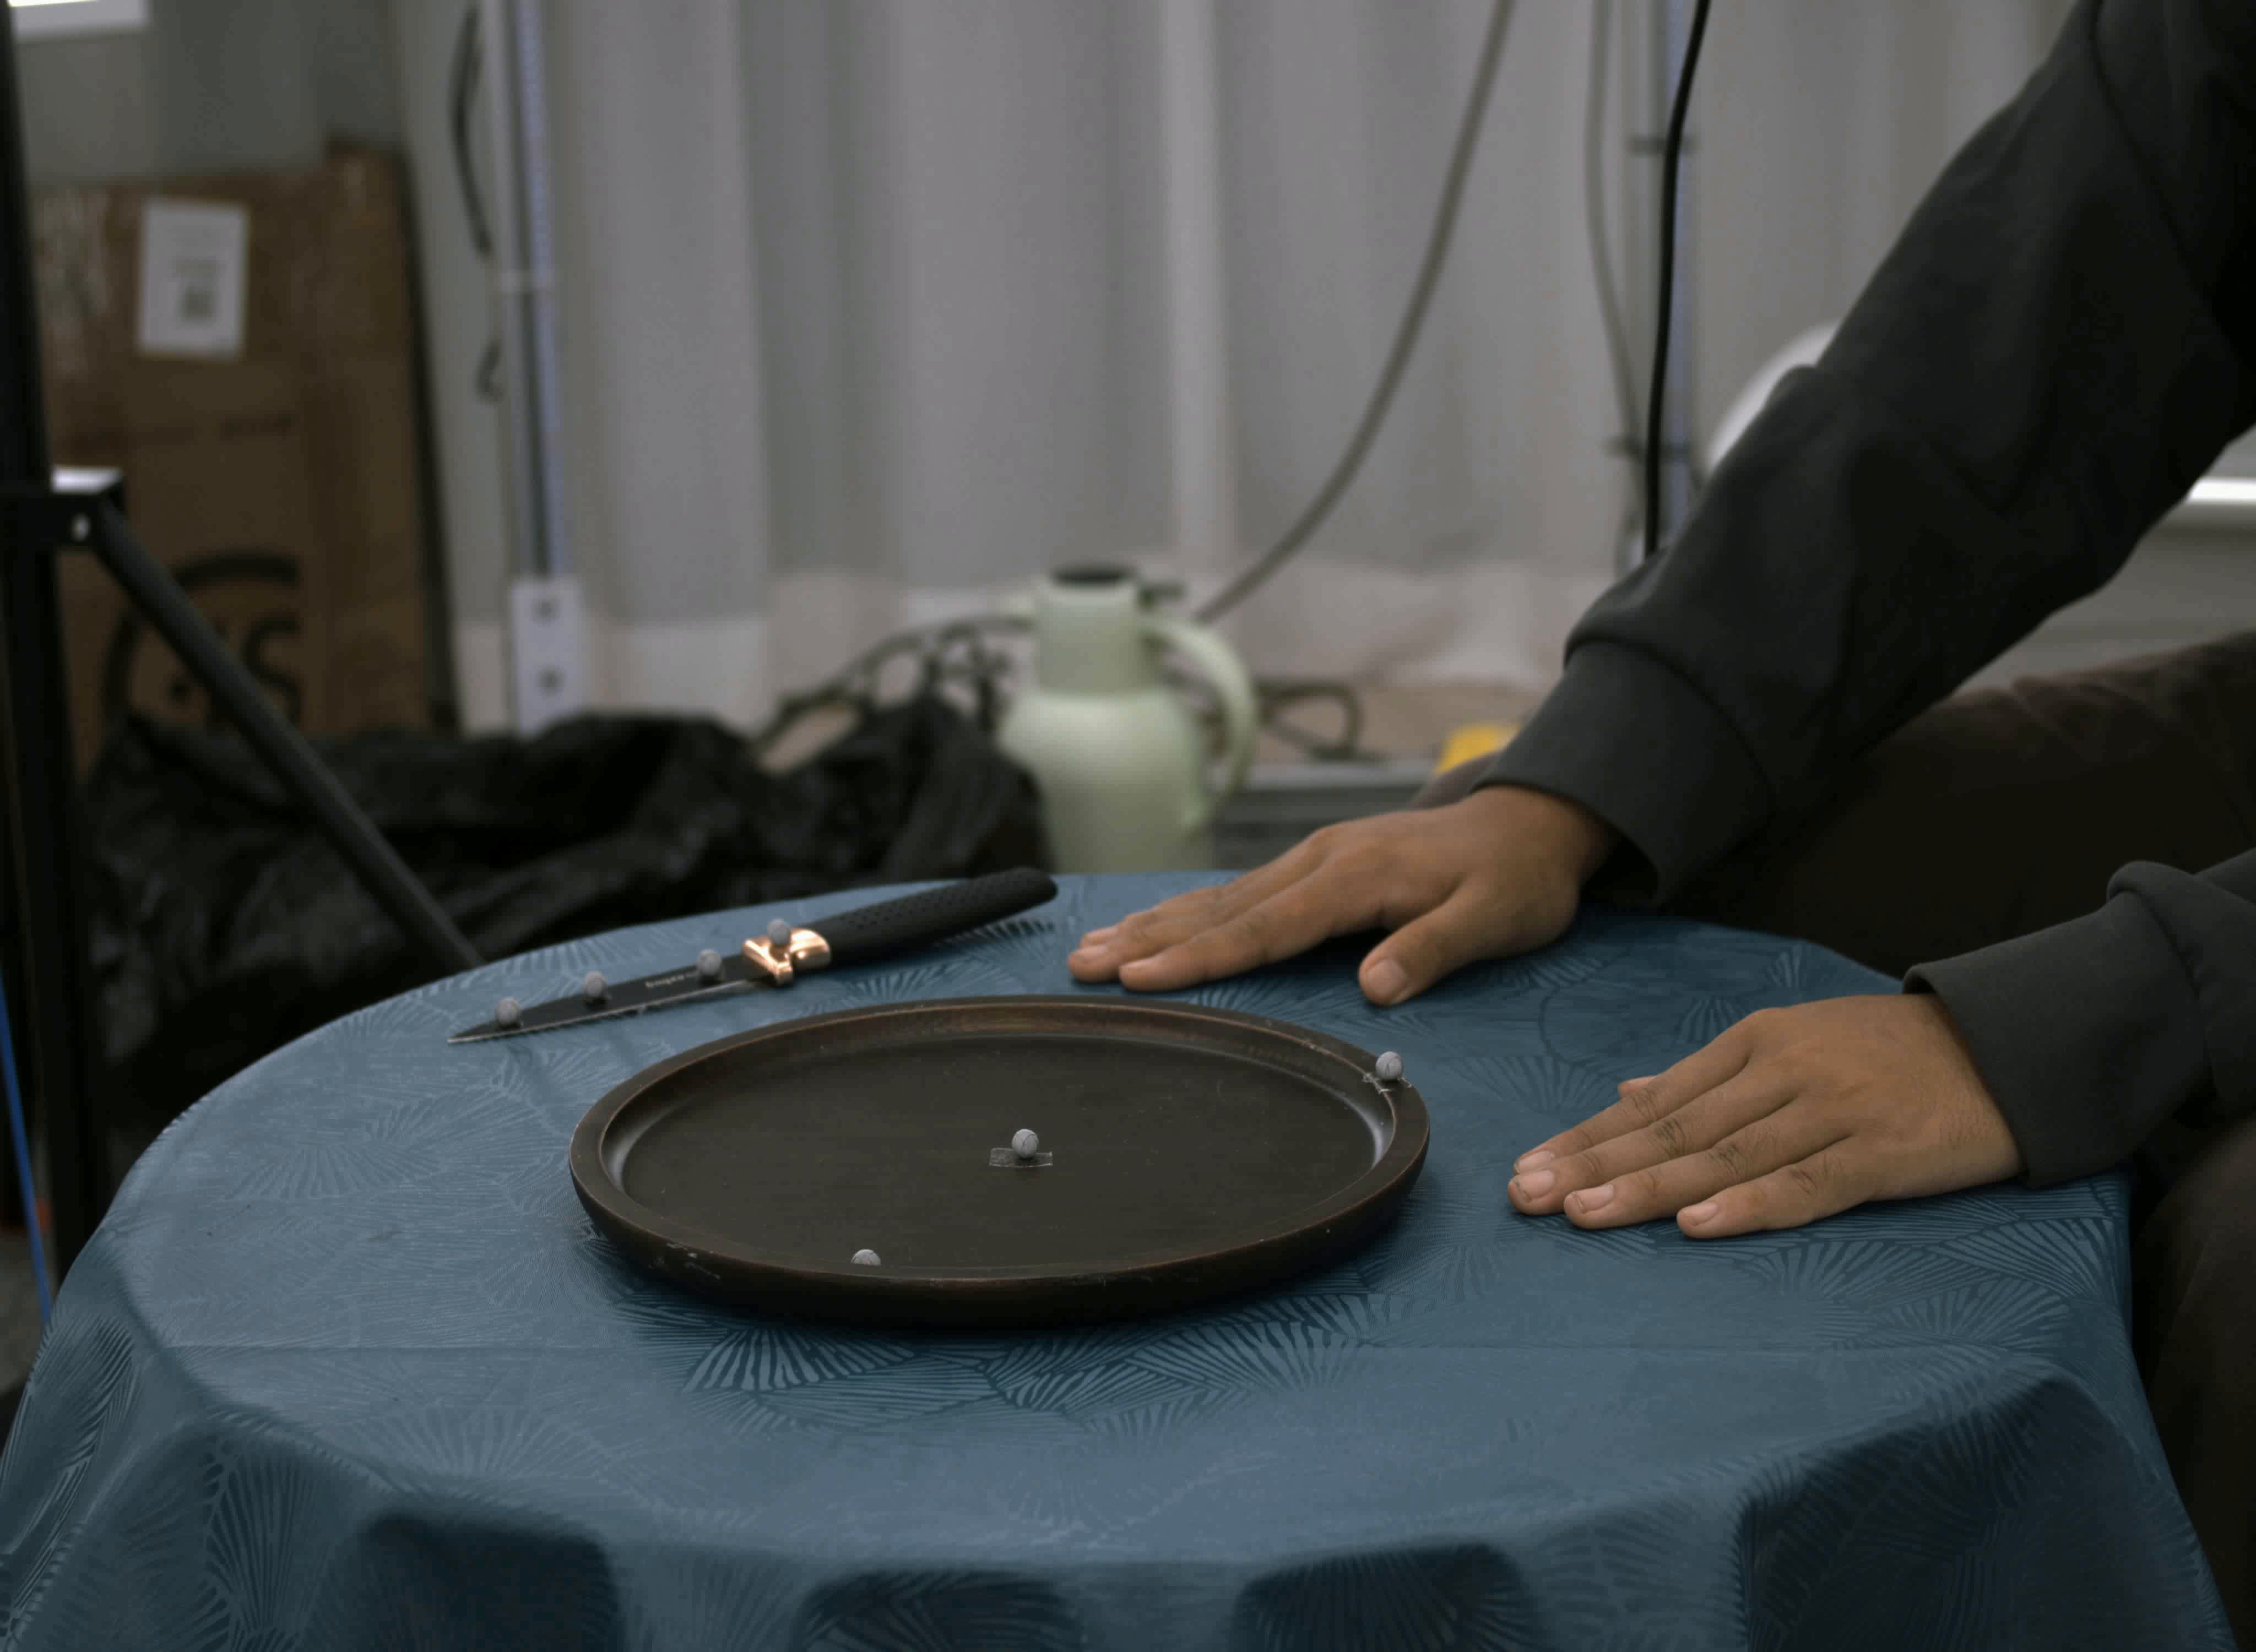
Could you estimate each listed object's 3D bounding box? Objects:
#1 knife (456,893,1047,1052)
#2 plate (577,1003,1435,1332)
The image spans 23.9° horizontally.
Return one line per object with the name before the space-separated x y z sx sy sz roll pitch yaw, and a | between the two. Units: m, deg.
knife | -0.122 0.049 1.765 0.220 0.017 0.027 -12 23 -28
plate | -0.035 0.097 1.557 0.253 0.029 0.256 -2 15 -1
